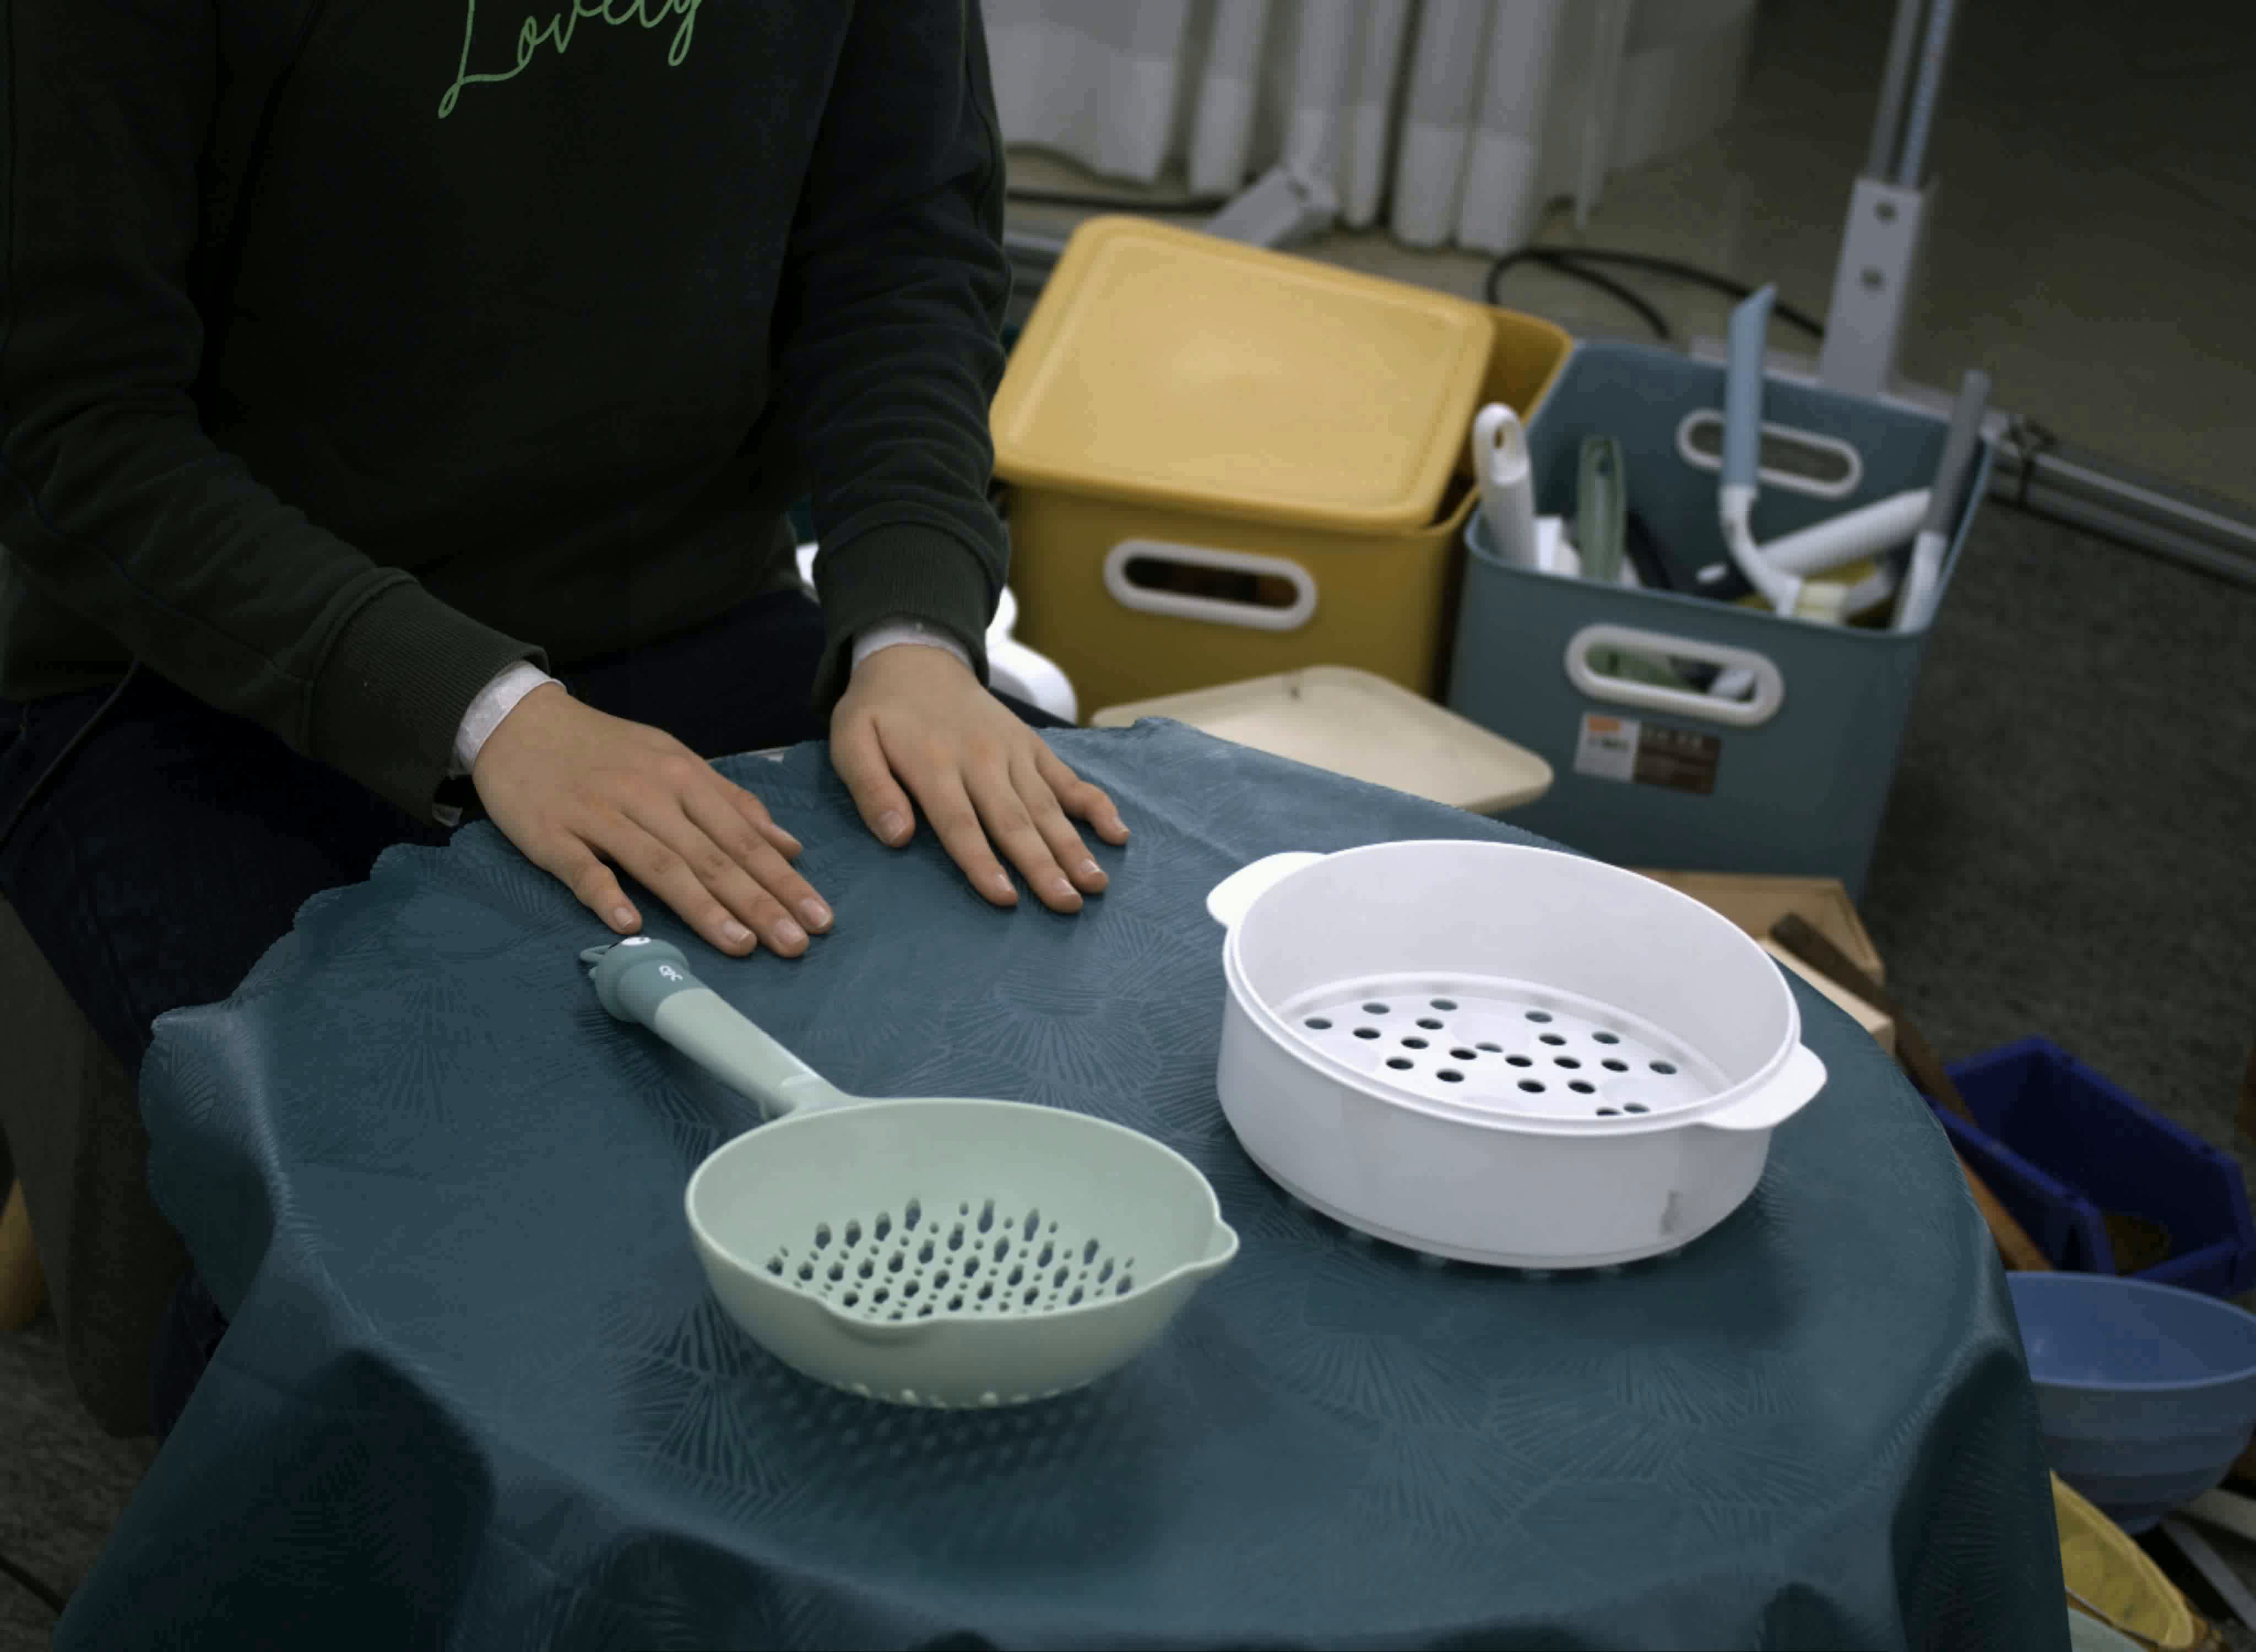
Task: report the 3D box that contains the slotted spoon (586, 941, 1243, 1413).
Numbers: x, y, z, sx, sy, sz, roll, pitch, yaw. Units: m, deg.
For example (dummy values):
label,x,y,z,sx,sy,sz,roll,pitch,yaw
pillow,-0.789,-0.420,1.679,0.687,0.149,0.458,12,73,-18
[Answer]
label,x,y,z,sx,sy,sz,roll,pitch,yaw
slotted spoon,-0.102,0.099,1.754,0.168,0.075,0.362,-8,30,-28

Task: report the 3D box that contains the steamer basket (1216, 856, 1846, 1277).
label,x,y,z,sx,sy,sz,roll,pitch,yaw
steamer basket,0.133,0.083,1.839,0.232,0.069,0.201,21,29,27
